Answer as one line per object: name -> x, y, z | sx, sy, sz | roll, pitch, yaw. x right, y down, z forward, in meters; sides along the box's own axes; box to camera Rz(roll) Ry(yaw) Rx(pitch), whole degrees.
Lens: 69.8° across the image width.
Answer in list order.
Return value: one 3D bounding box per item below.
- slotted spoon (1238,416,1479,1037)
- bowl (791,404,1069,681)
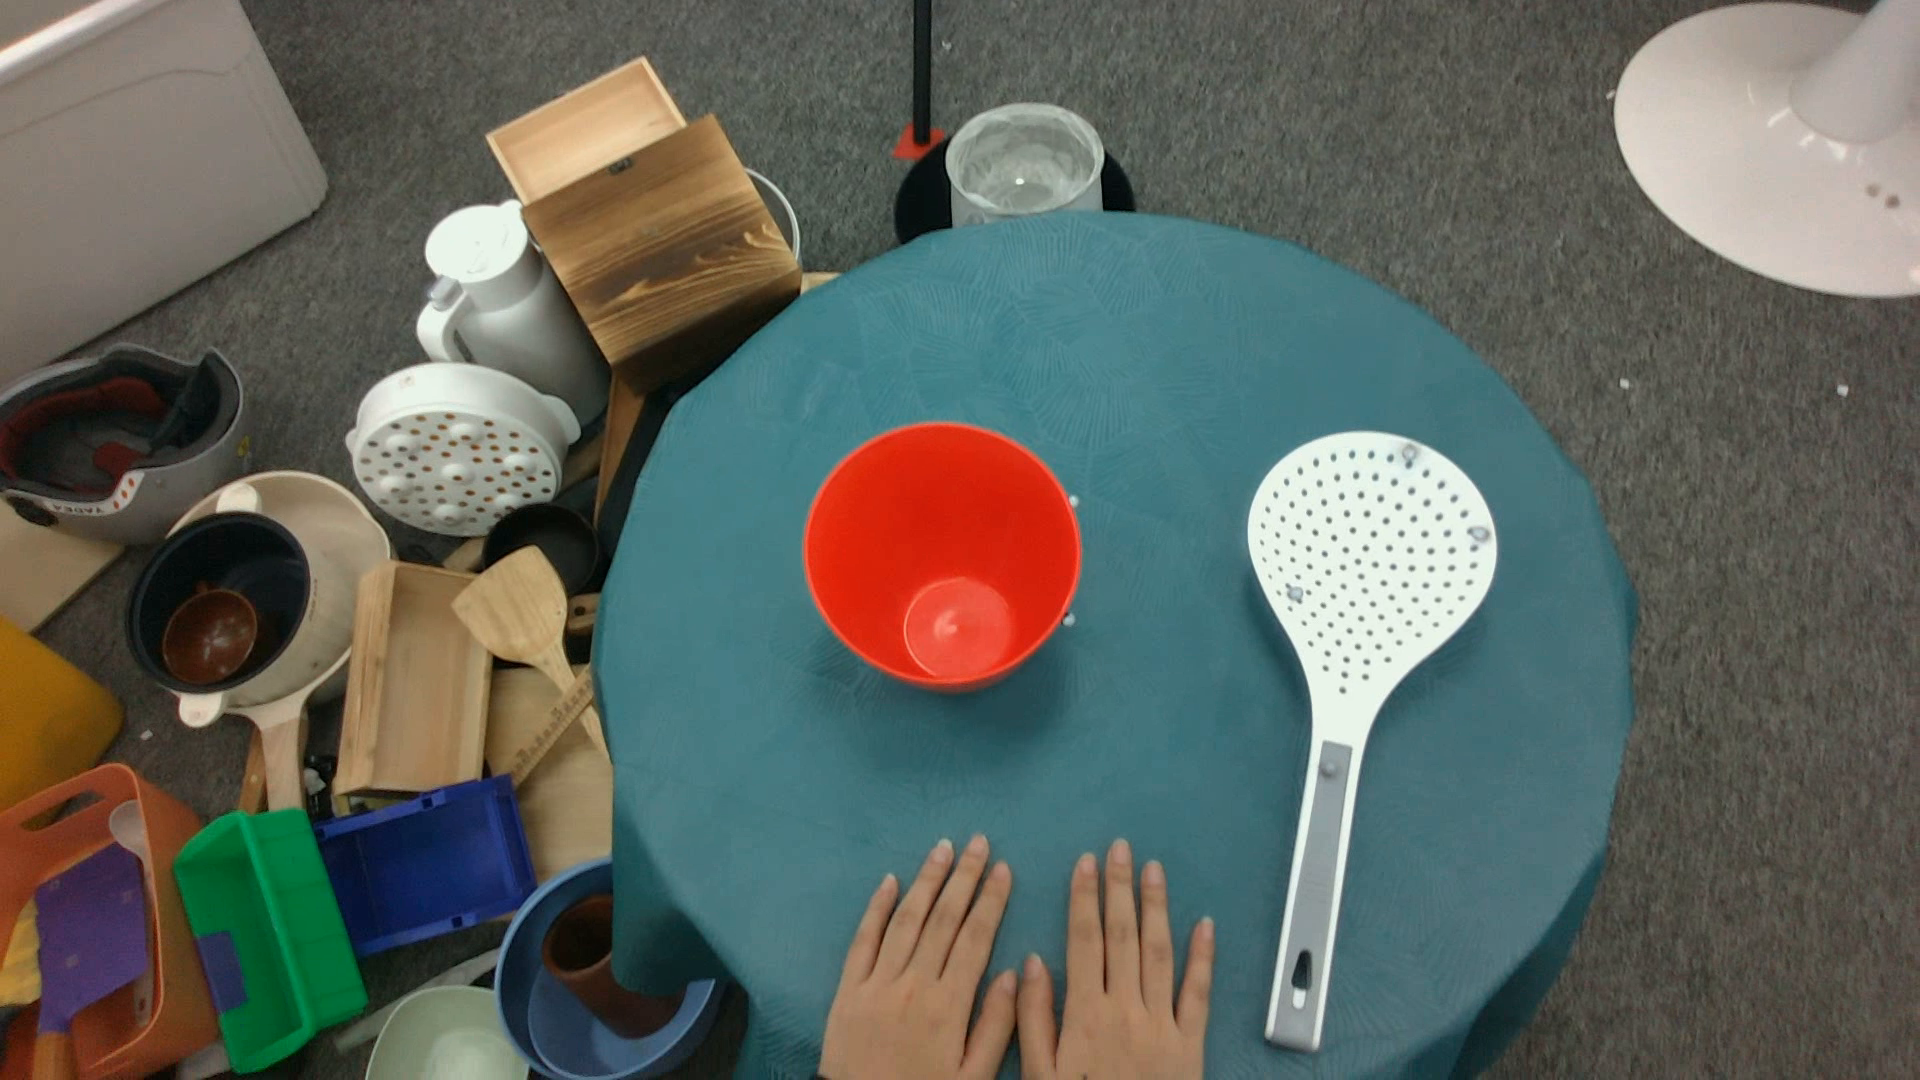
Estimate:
slotted spoon -> 0.200, 0.090, 0.752 | 0.136, 0.045, 0.351 | 12, 64, 9
bowl -> -0.015, 0.014, 0.766 | 0.148, 0.104, 0.148 | 0, 63, 0
